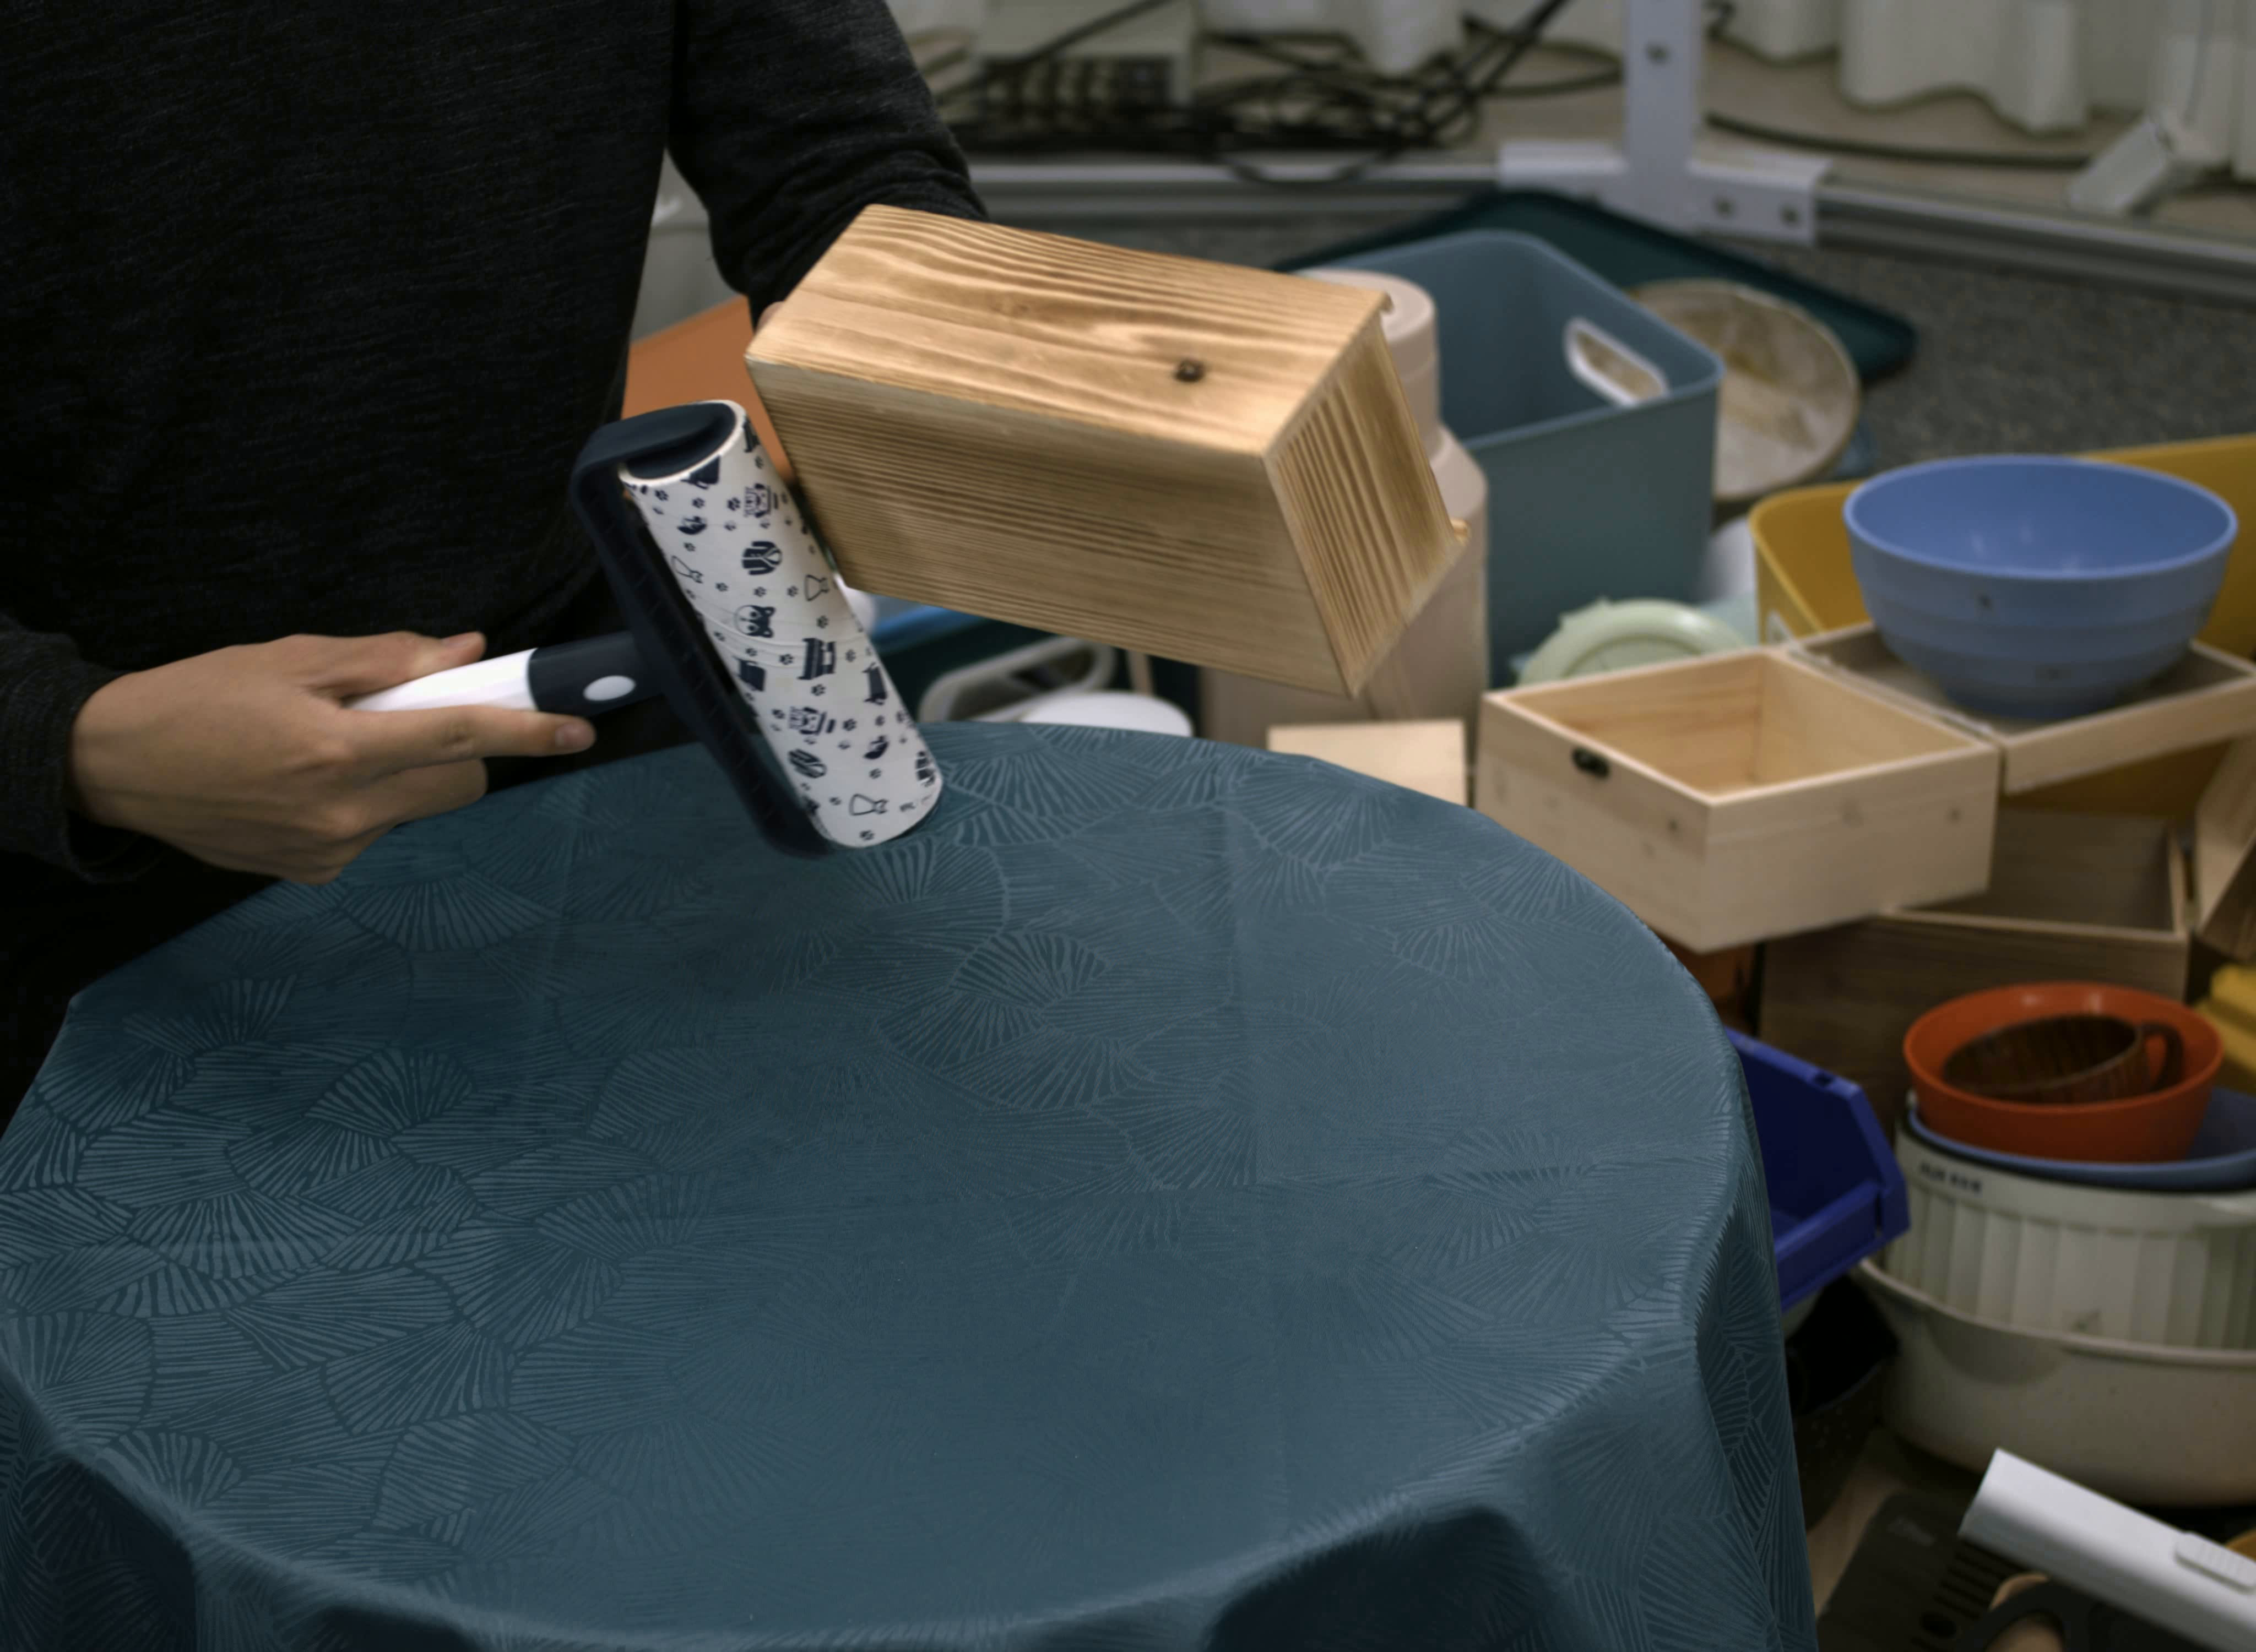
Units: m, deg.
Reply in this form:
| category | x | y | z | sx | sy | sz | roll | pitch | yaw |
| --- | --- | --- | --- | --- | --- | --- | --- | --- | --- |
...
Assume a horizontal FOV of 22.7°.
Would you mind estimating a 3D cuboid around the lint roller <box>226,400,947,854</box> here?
| category | x | y | z | sx | sy | sz | roll | pitch | yaw |
| --- | --- | --- | --- | --- | --- | --- | --- | --- | --- |
| lint roller | -0.203 | -0.042 | 1.925 | 0.244 | 0.174 | 0.051 | -16 | 34 | 20 |

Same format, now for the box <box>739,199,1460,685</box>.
| category | x | y | z | sx | sy | sz | roll | pitch | yaw |
| --- | --- | --- | --- | --- | --- | --- | --- | --- | --- |
| box | -0.010 | -0.127 | 1.832 | 0.210 | 0.106 | 0.081 | 13 | 50 | 35 |
